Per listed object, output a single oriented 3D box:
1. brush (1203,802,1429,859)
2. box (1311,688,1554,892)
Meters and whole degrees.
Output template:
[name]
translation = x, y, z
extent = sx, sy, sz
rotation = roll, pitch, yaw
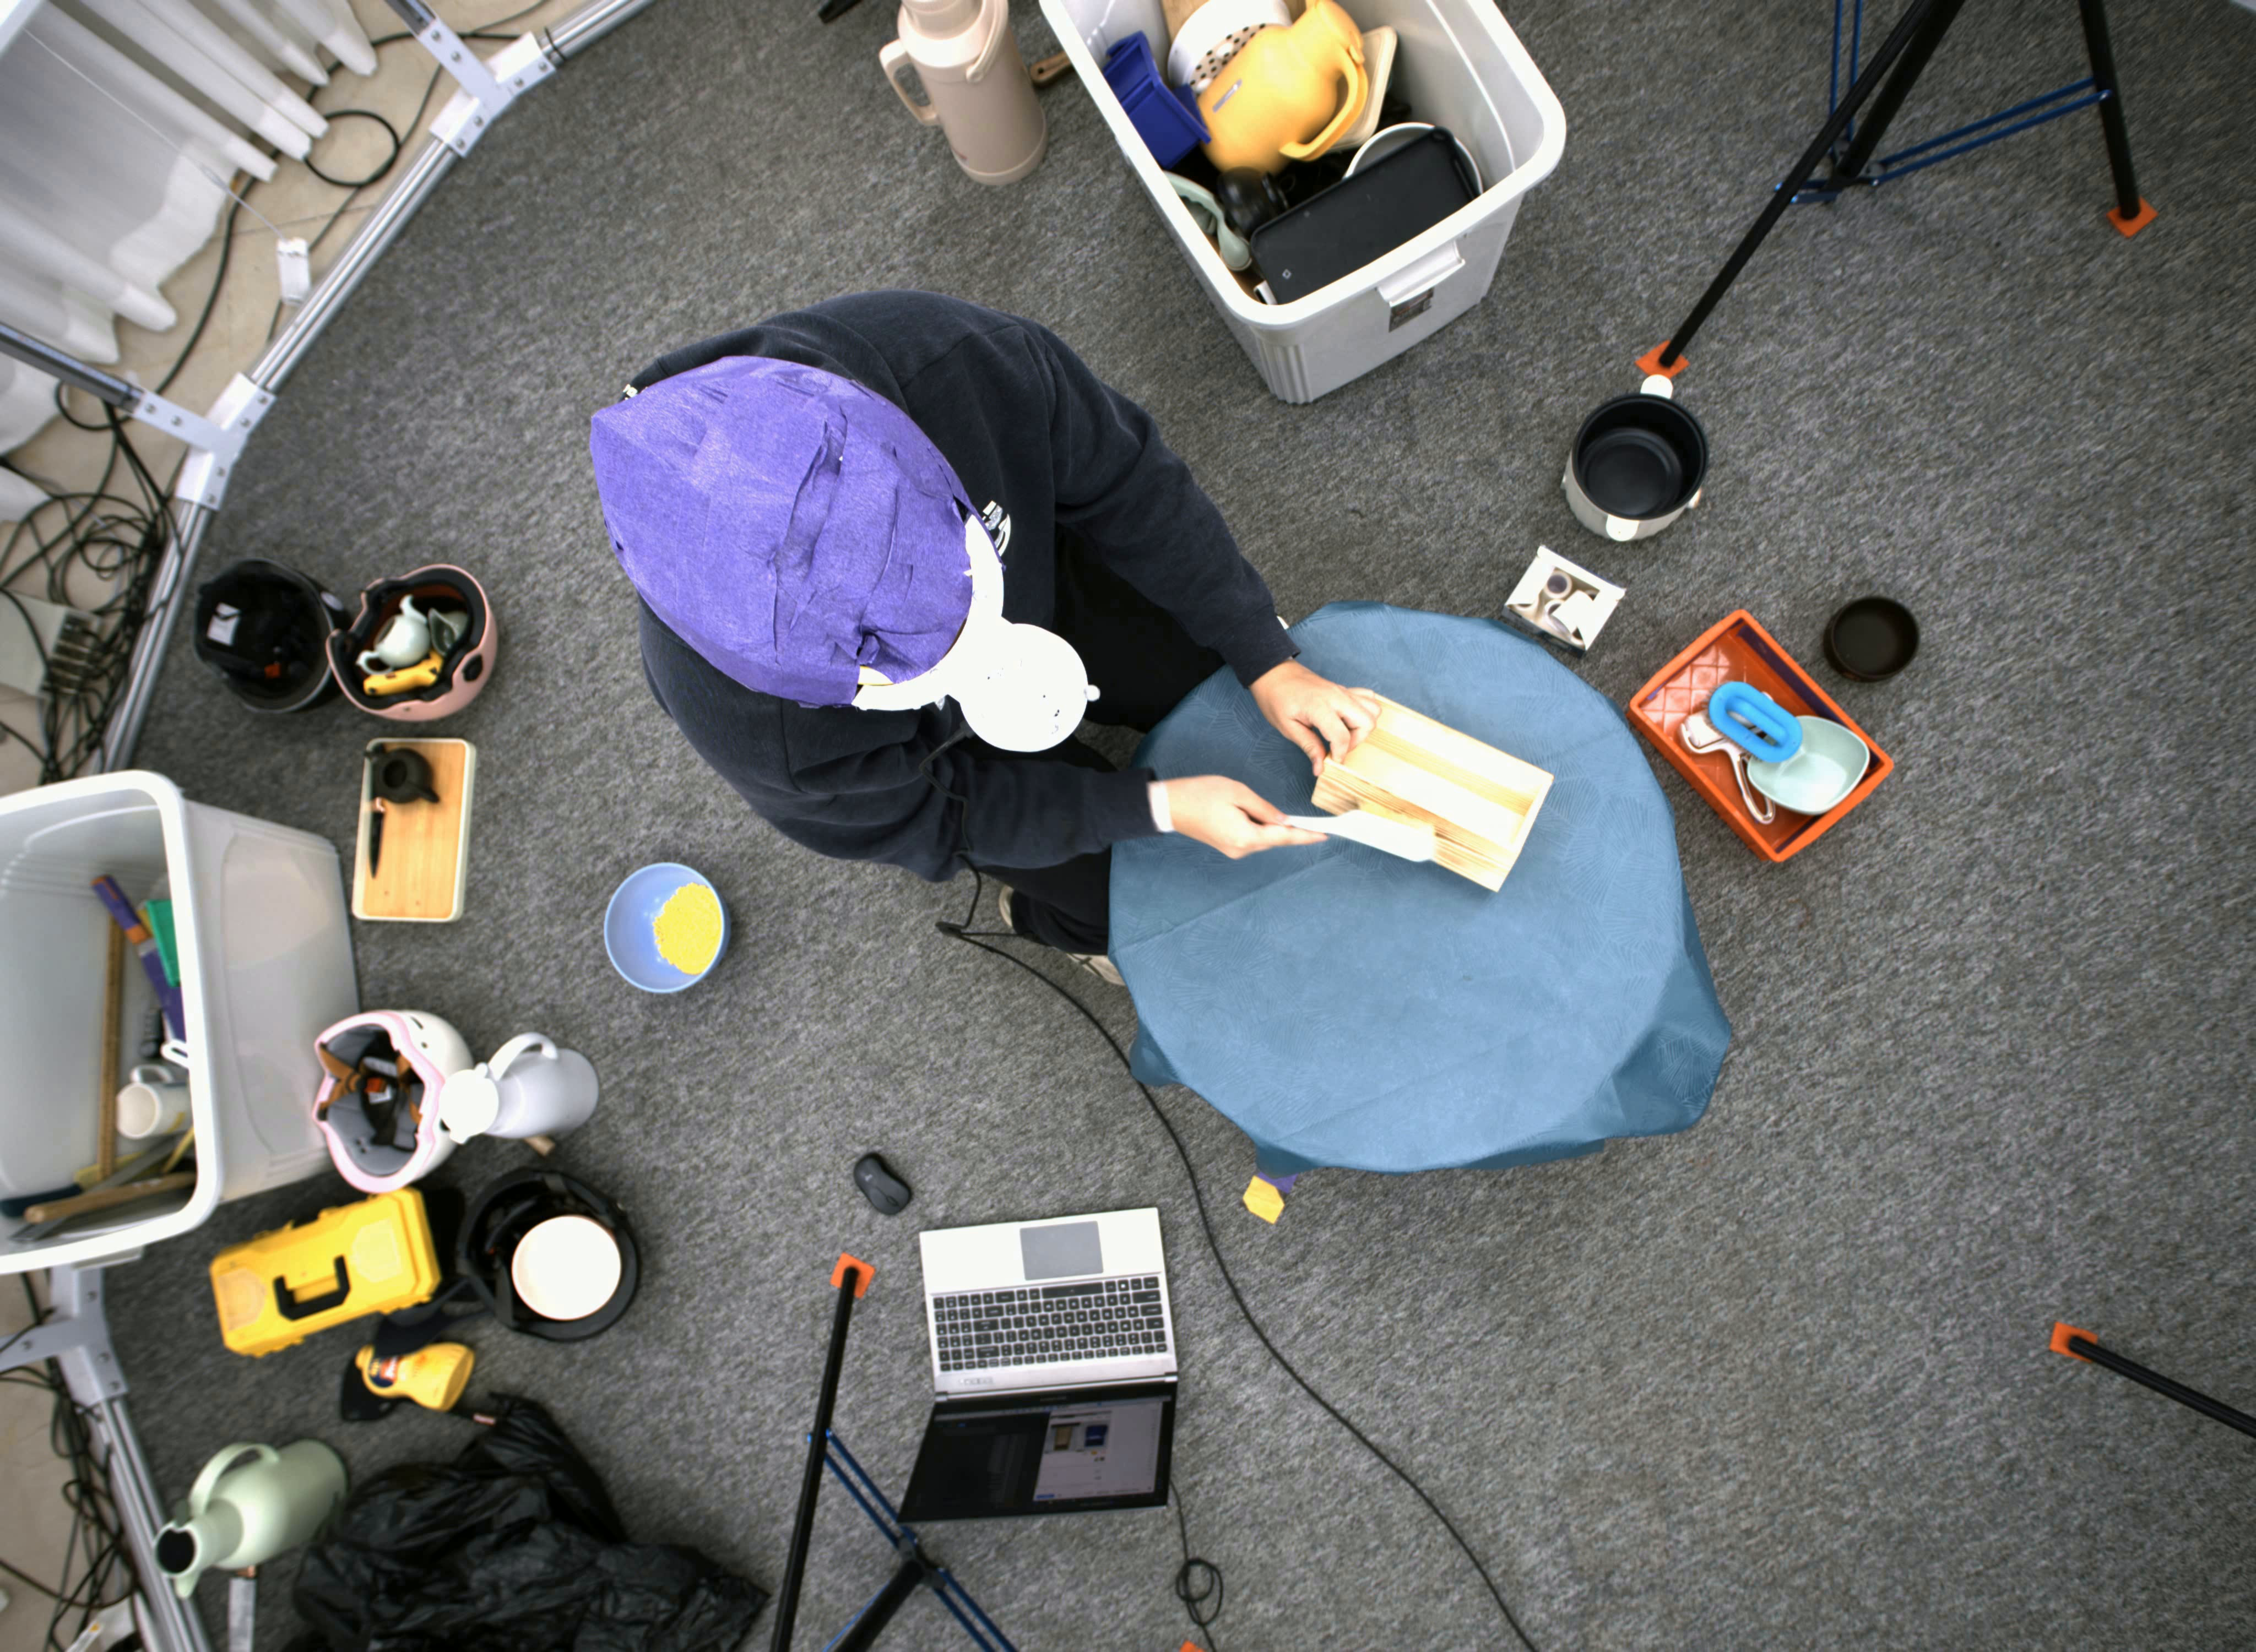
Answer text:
[brush]
translation = 0.187, -0.007, 1.387
extent = 0.229, 0.038, 0.048
rotation = 7, 52, 18
[box]
translation = 0.307, -0.039, 1.400
extent = 0.211, 0.082, 0.105
rotation = 26, 63, 11
